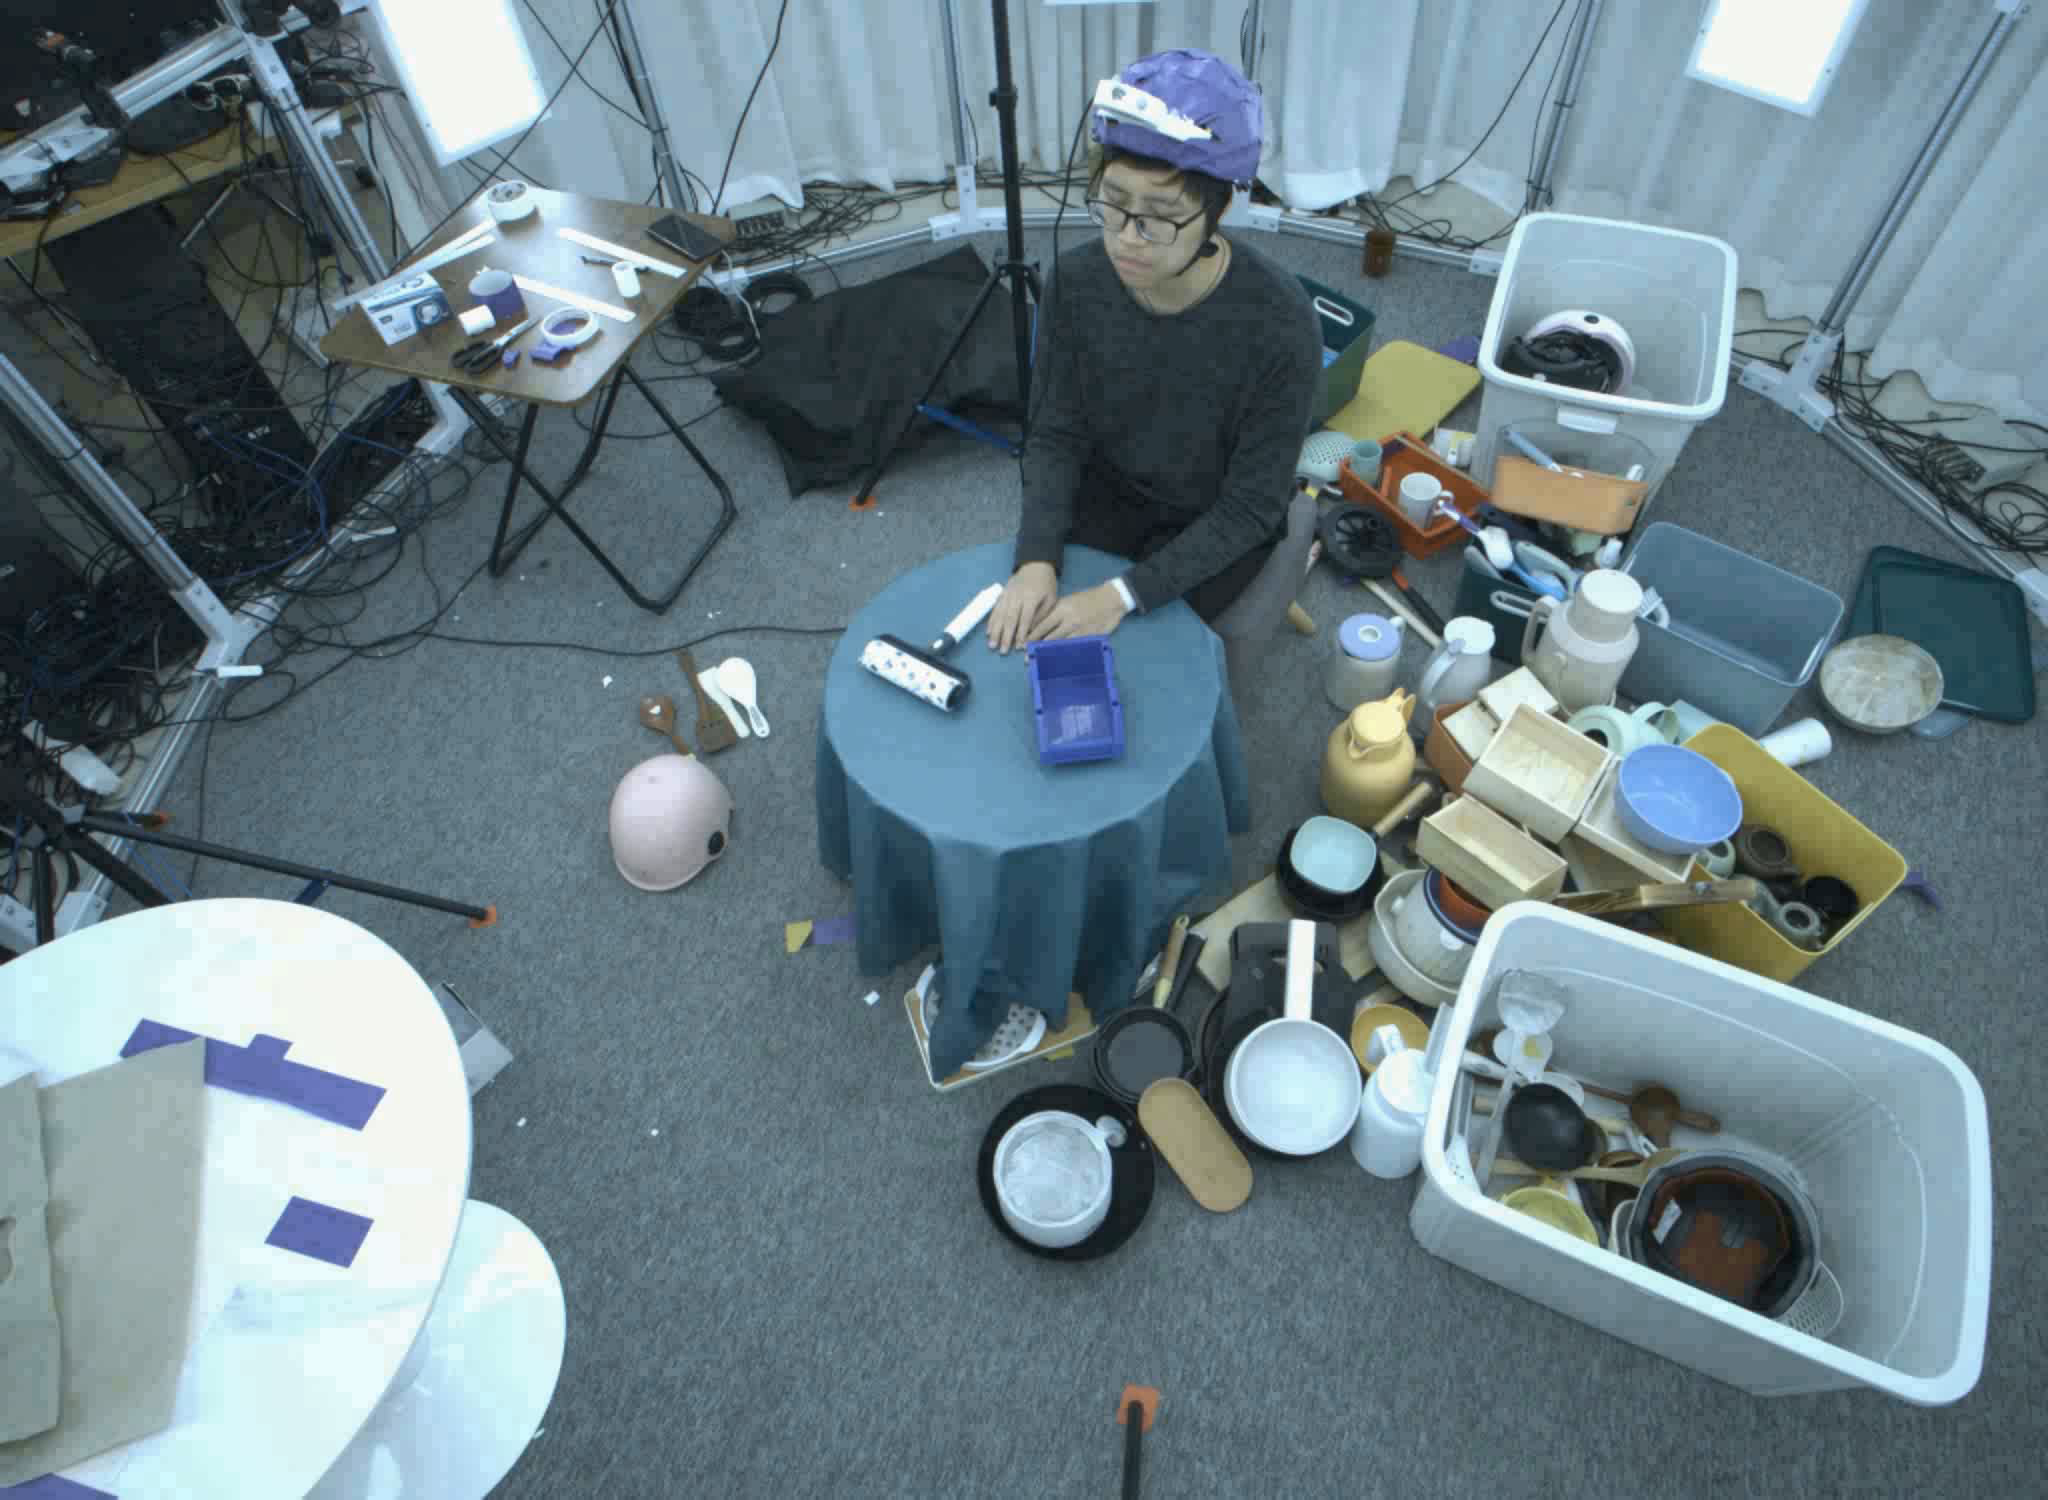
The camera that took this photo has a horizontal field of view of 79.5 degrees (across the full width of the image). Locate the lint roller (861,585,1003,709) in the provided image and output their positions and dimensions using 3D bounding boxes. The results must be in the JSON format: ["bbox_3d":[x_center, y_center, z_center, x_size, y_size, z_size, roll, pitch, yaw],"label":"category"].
[{"bbox_3d":[-0.113,-0.182,1.894,0.173,0.051,0.248,27,59,21],"label":"lint roller"}]

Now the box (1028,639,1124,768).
[{"bbox_3d":[0.076,-0.064,1.780,0.125,0.083,0.177,-5,52,-1],"label":"box"}]
